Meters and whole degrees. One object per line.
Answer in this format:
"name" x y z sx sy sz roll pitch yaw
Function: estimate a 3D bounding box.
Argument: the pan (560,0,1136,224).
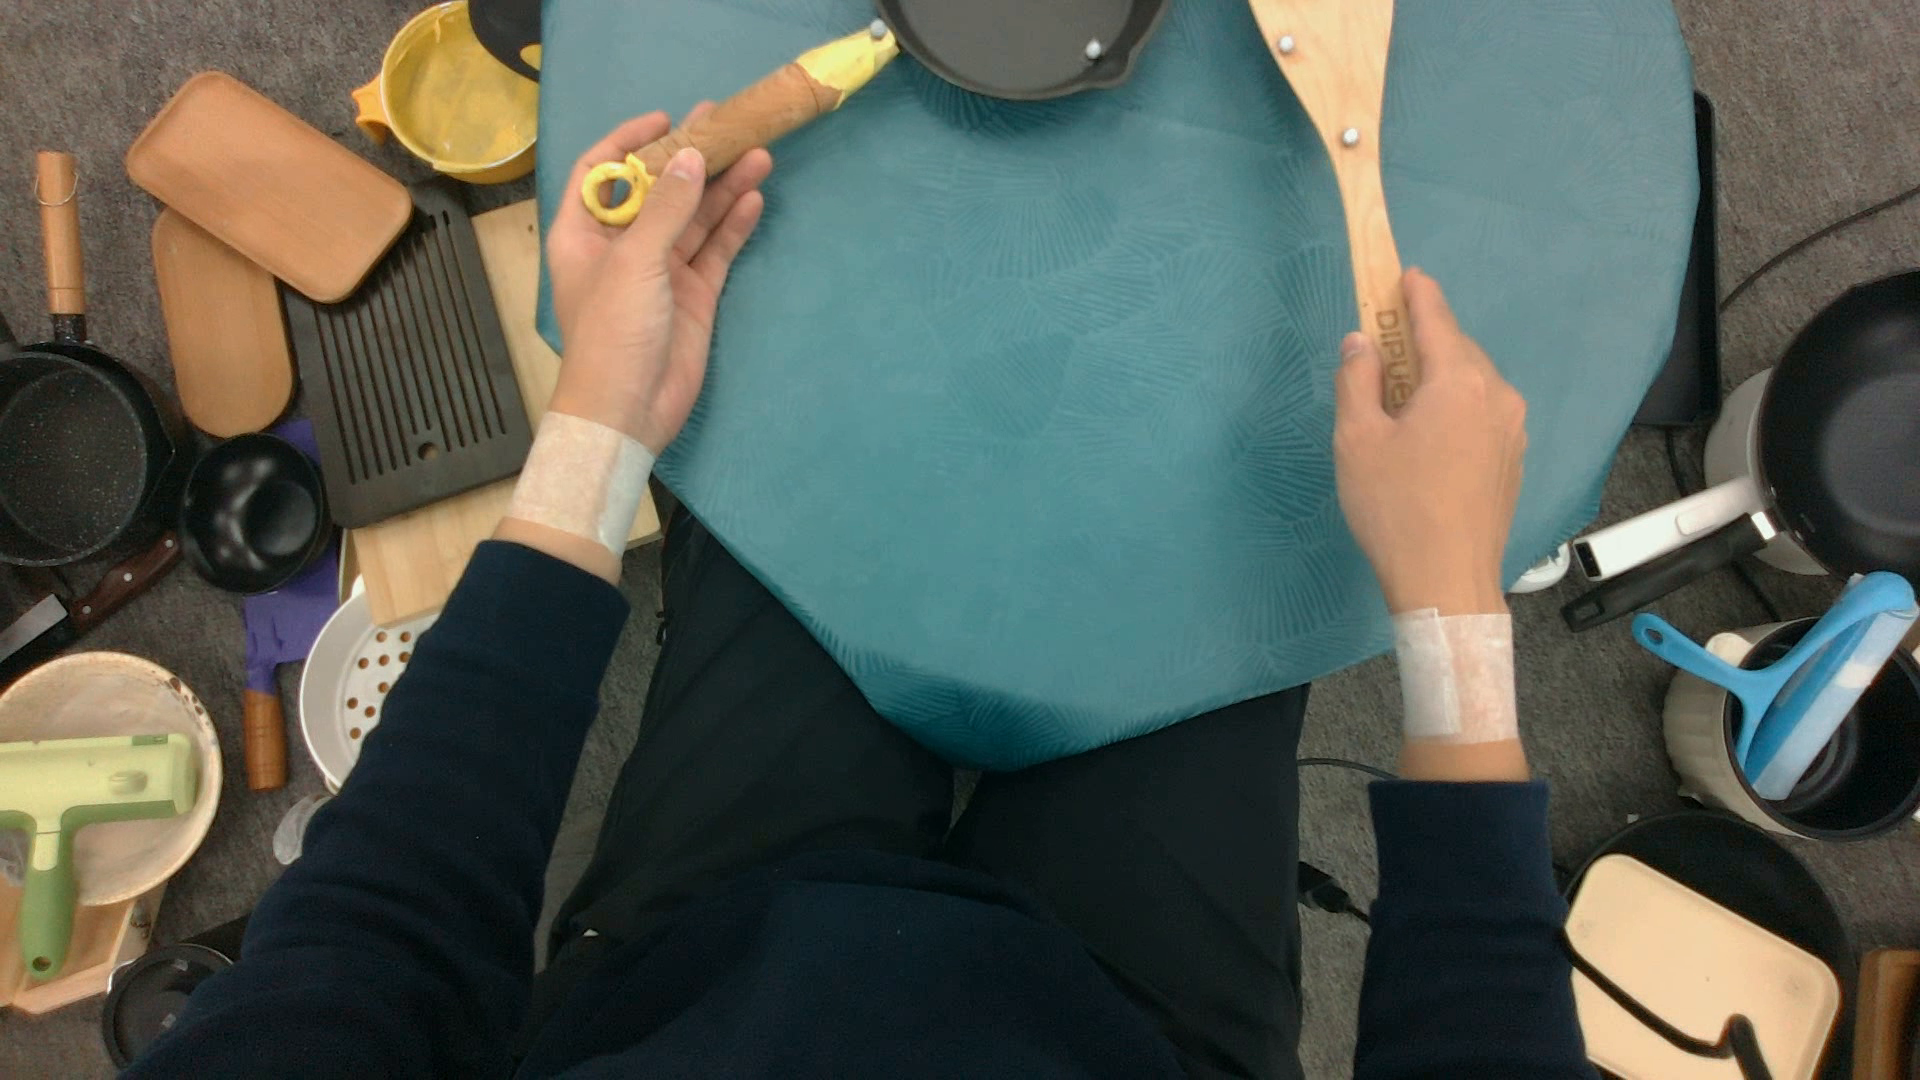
"pan" -0.055 -0.247 0.676 0.324 0.049 0.169 -35 87 -9

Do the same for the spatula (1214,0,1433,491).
"spatula" 0.173 -0.180 0.648 0.080 0.016 0.328 -10 75 3
